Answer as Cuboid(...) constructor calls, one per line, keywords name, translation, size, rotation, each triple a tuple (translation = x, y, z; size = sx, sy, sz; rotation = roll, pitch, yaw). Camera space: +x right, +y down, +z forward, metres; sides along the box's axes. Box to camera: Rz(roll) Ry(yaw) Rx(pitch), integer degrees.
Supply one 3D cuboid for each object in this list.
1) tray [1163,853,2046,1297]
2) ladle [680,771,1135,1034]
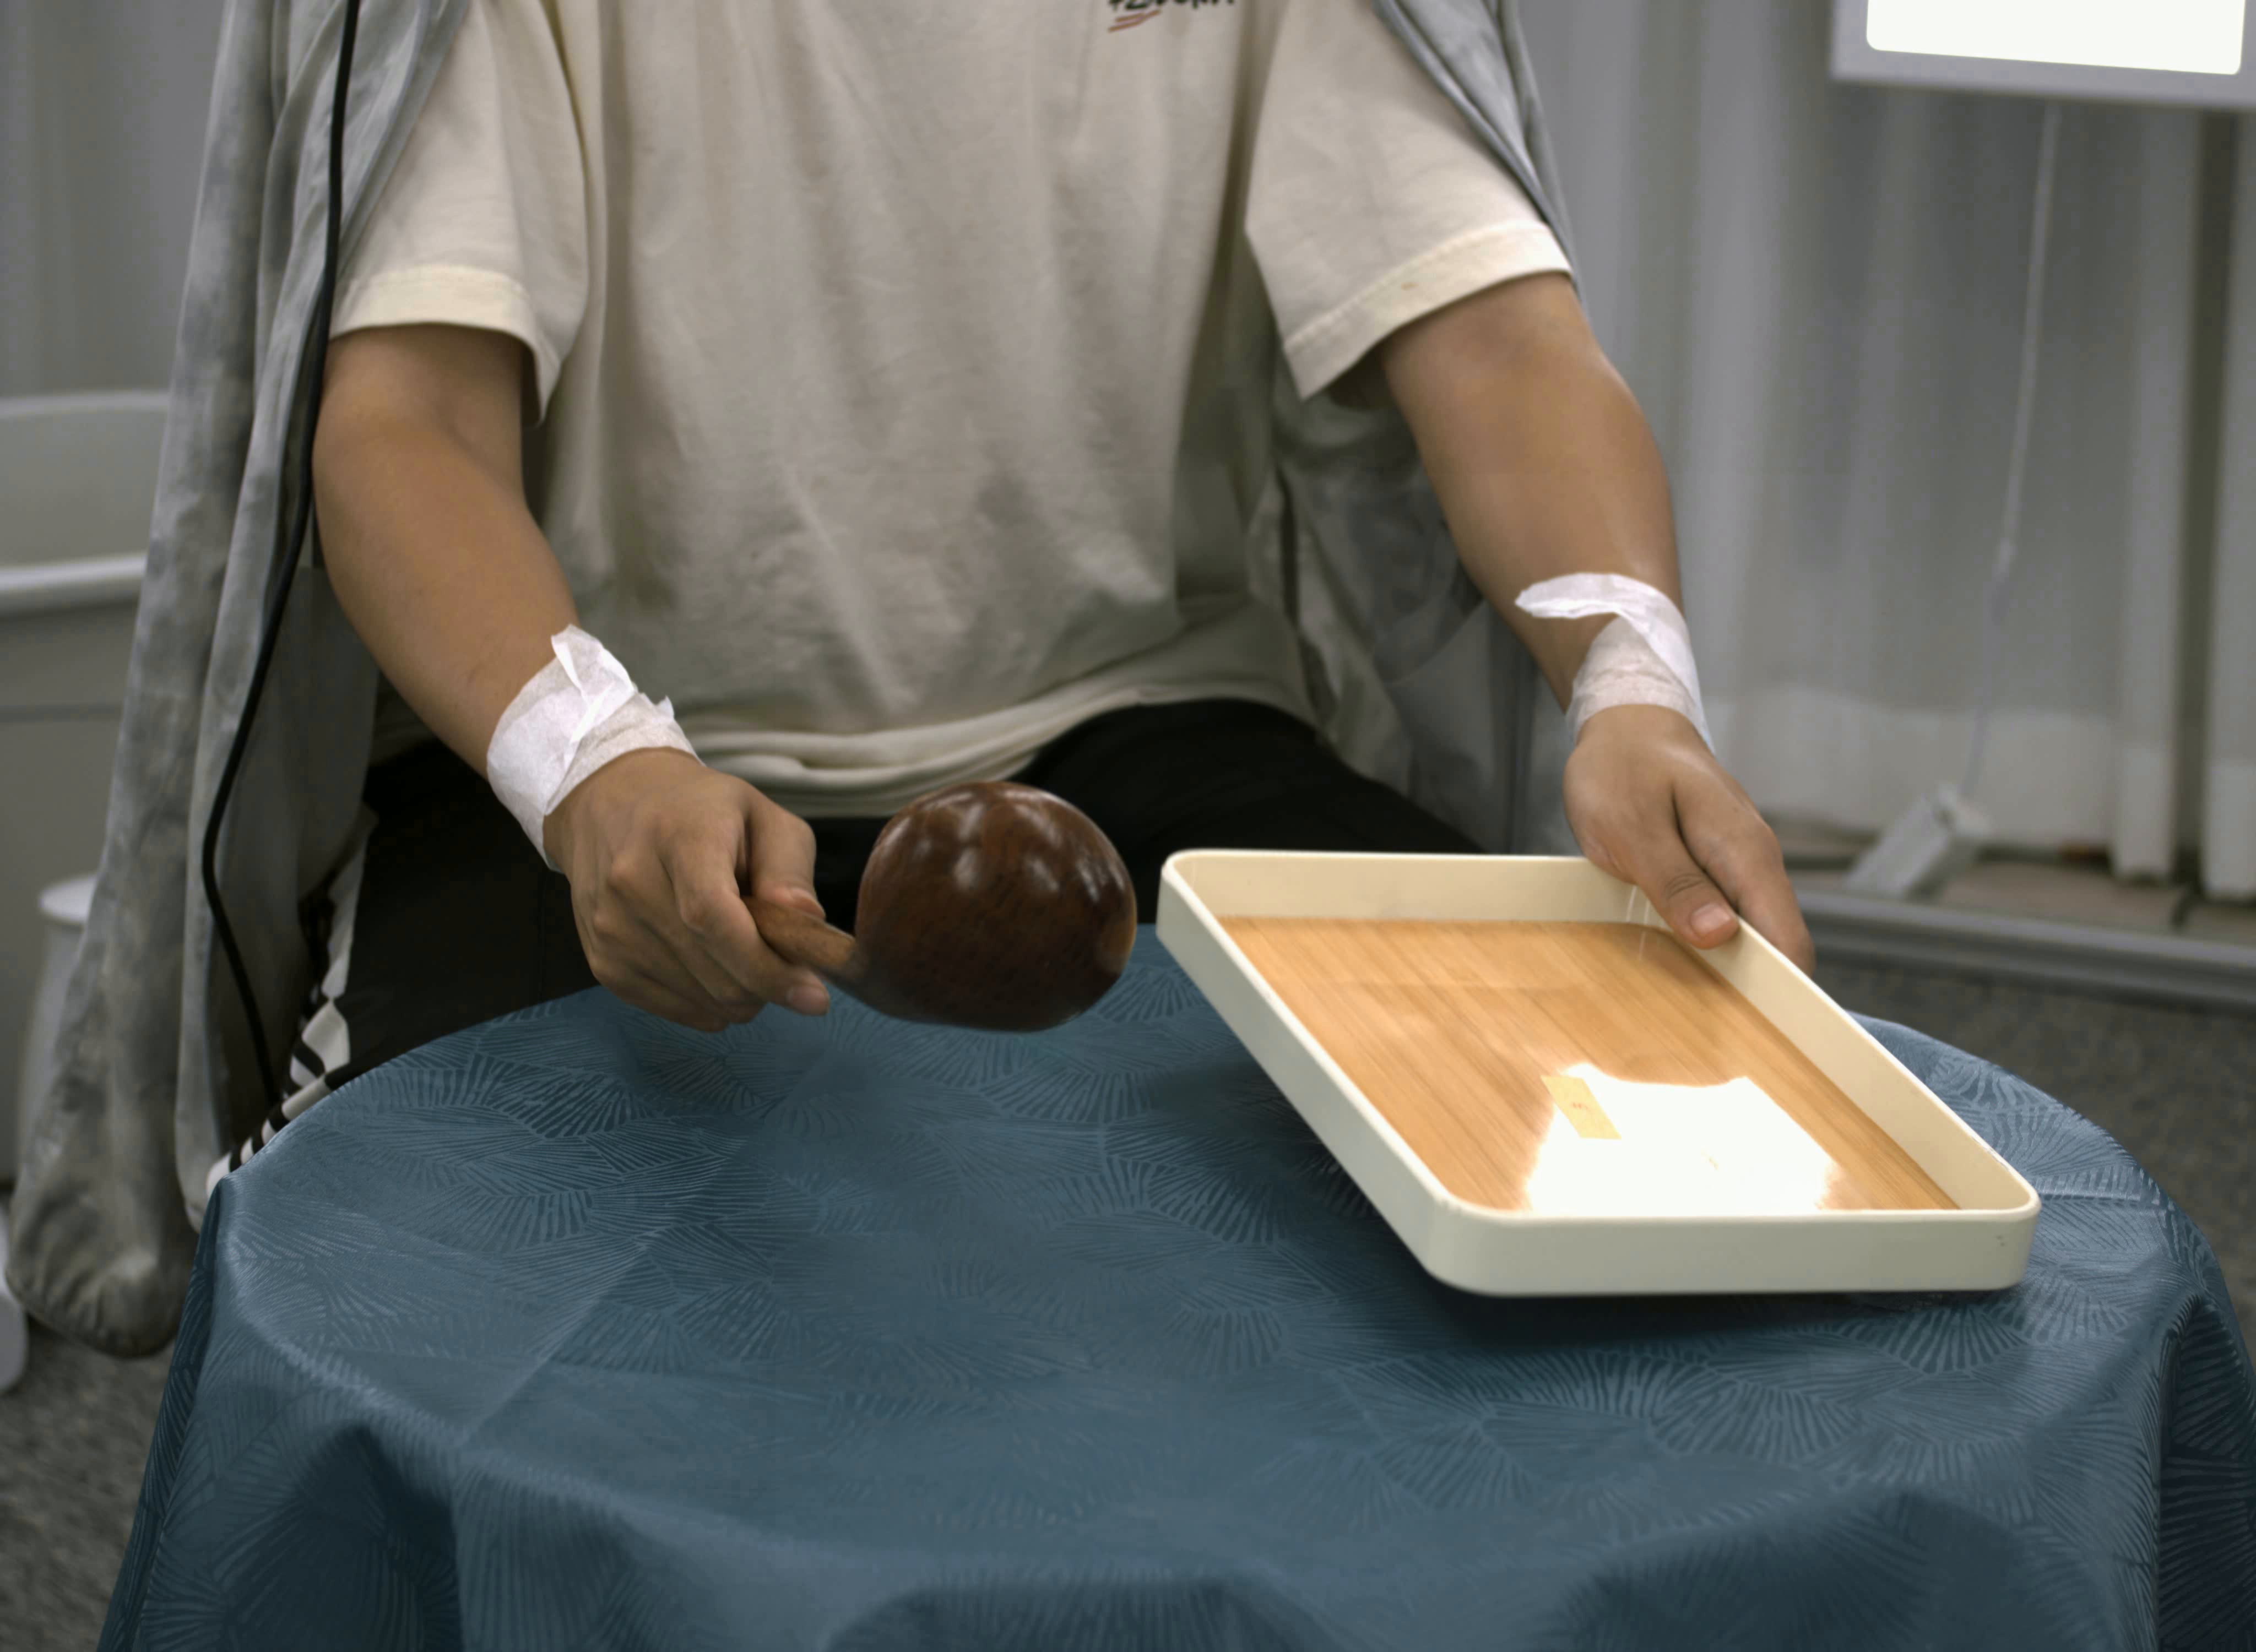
Cuboid(name="tray", translation=(0.139, 0.072, 1.635), size=(0.192, 0.027, 0.297), rotation=(1, 20, -18))
Cuboid(name="ladle", translation=(-0.074, 0.020, 1.609), size=(0.076, 0.082, 0.272), rotation=(-42, 15, -13))
